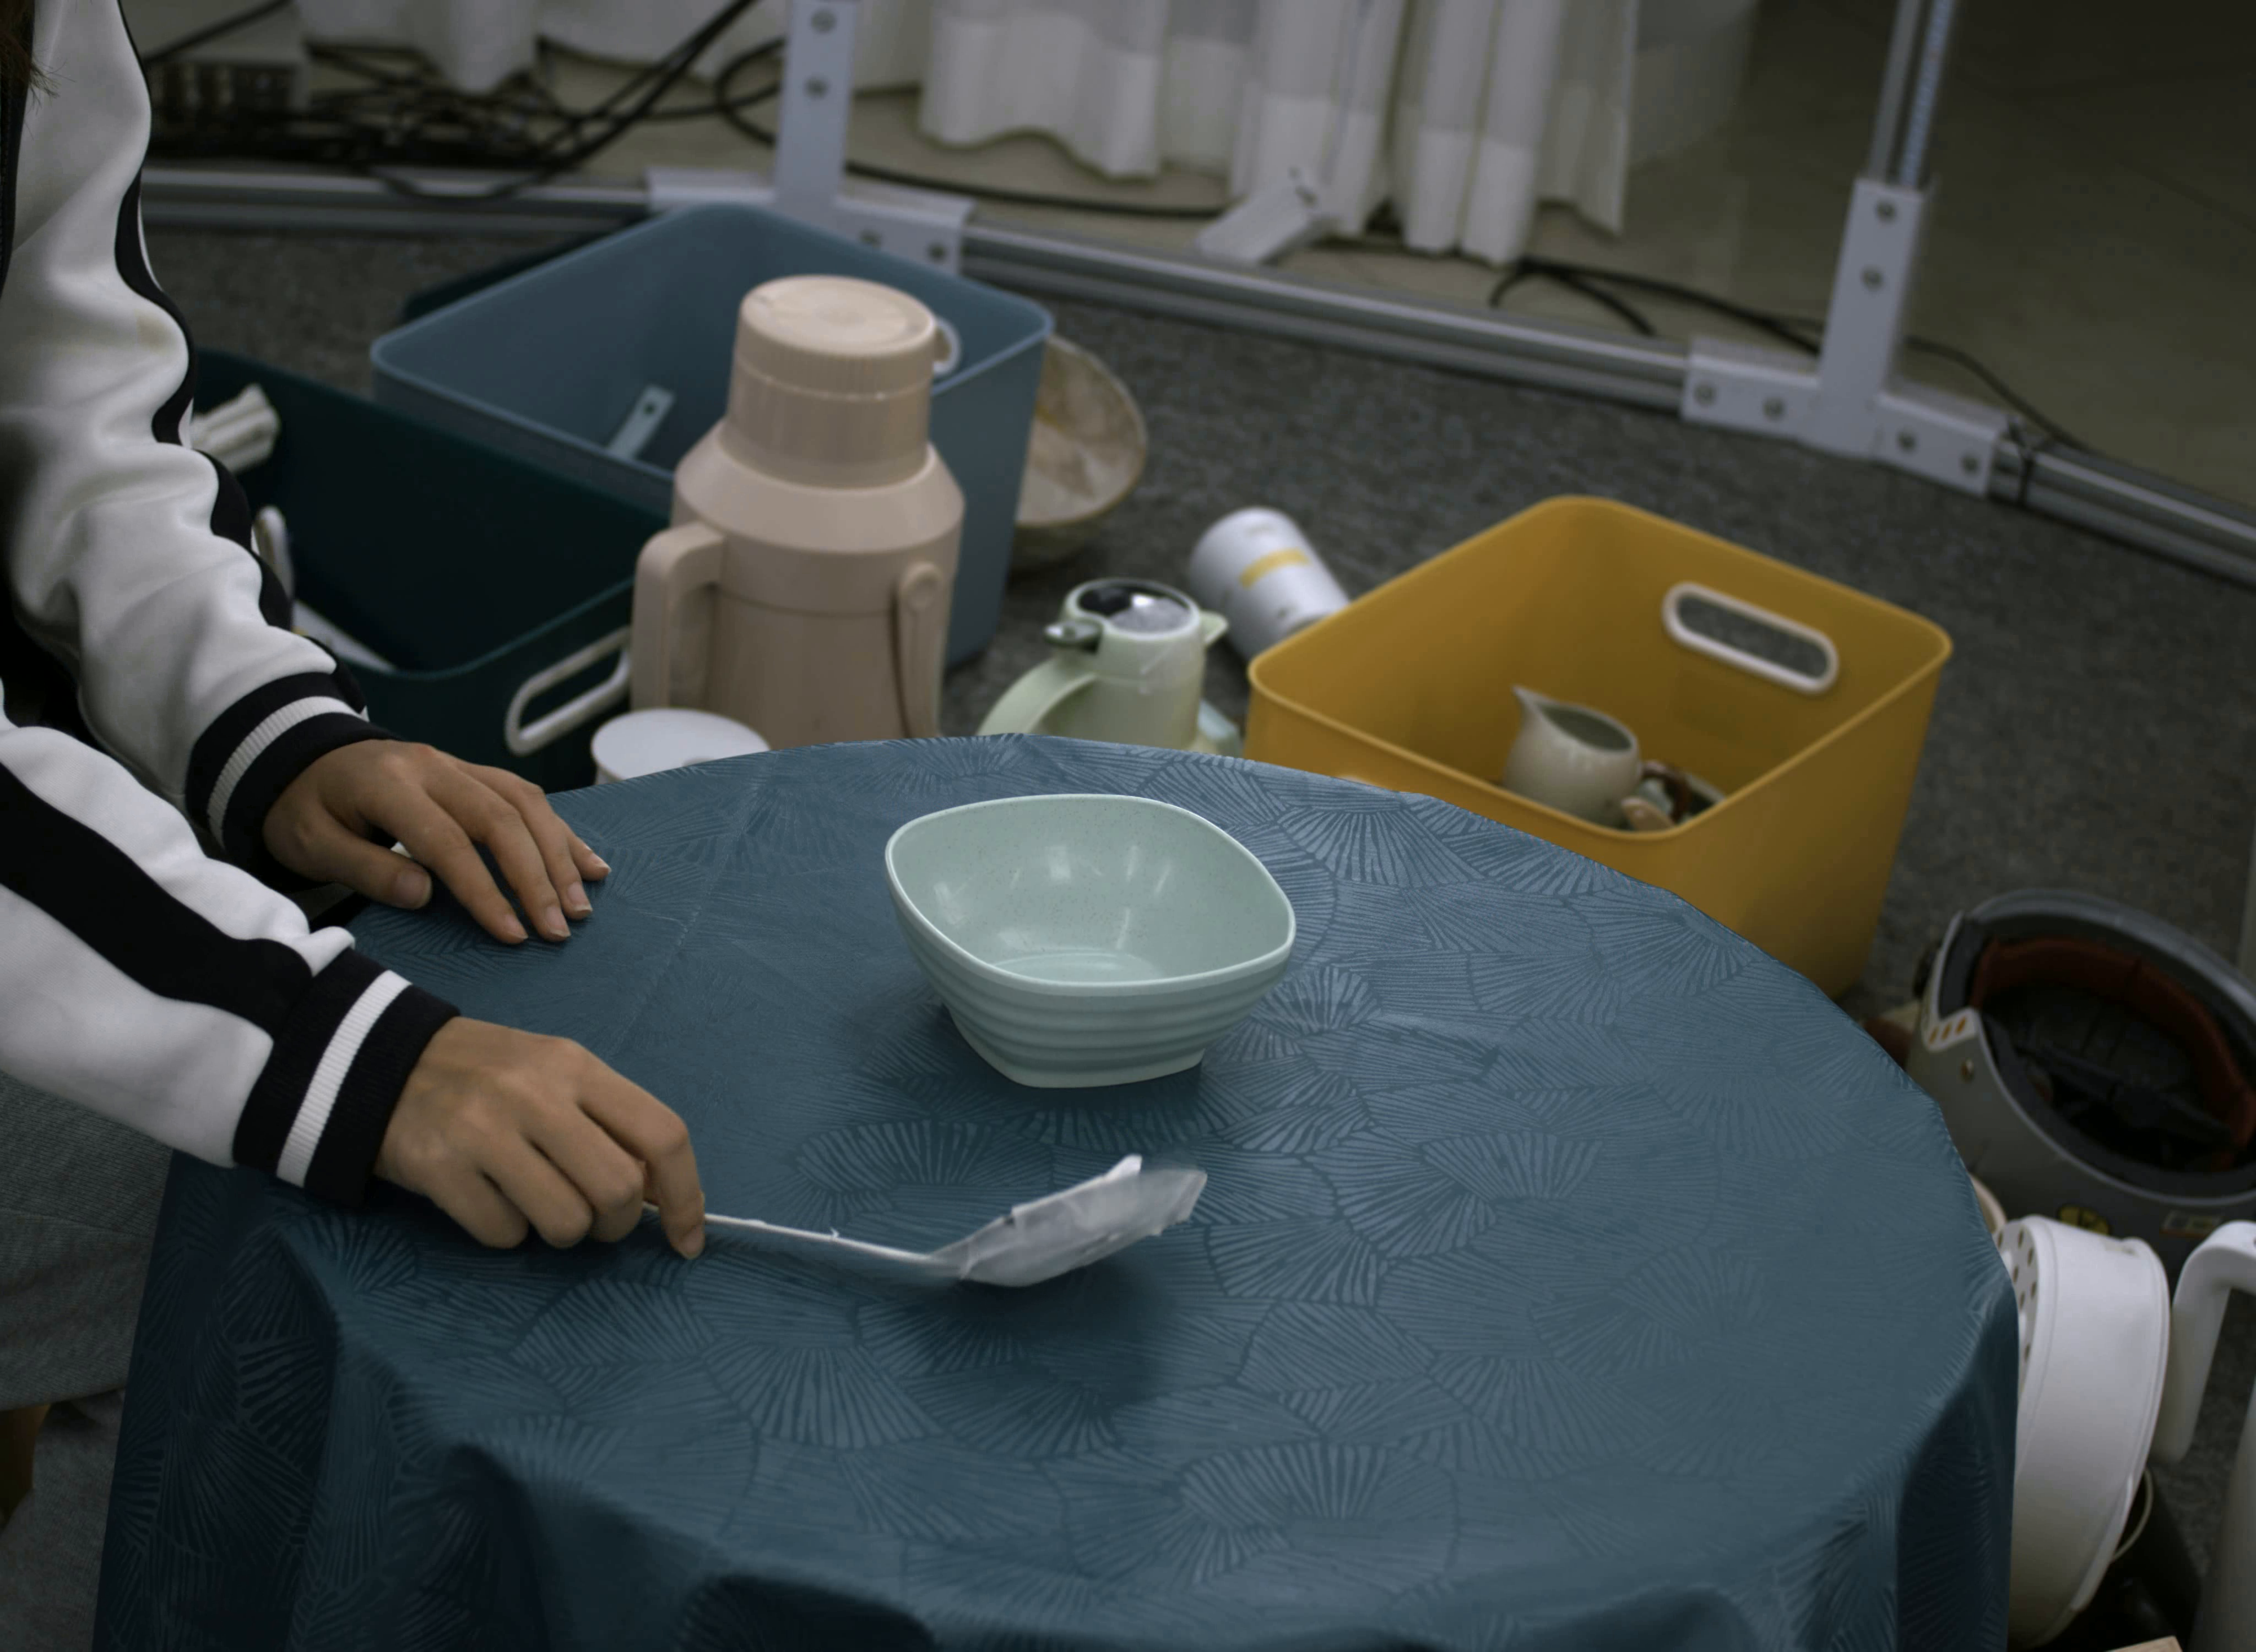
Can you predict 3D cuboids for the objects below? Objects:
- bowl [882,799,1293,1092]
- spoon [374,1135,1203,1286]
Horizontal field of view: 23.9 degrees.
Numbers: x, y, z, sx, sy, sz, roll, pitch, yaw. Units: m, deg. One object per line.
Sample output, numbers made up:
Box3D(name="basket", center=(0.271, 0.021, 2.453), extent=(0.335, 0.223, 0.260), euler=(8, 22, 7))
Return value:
Box3D(name="bowl", center=(-0.017, 0.048, 1.888), extent=(0.151, 0.058, 0.152), euler=(5, 27, -3))
Box3D(name="spoon", center=(-0.113, 0.108, 1.751), extent=(0.278, 0.059, 0.100), euler=(10, -13, 15))
